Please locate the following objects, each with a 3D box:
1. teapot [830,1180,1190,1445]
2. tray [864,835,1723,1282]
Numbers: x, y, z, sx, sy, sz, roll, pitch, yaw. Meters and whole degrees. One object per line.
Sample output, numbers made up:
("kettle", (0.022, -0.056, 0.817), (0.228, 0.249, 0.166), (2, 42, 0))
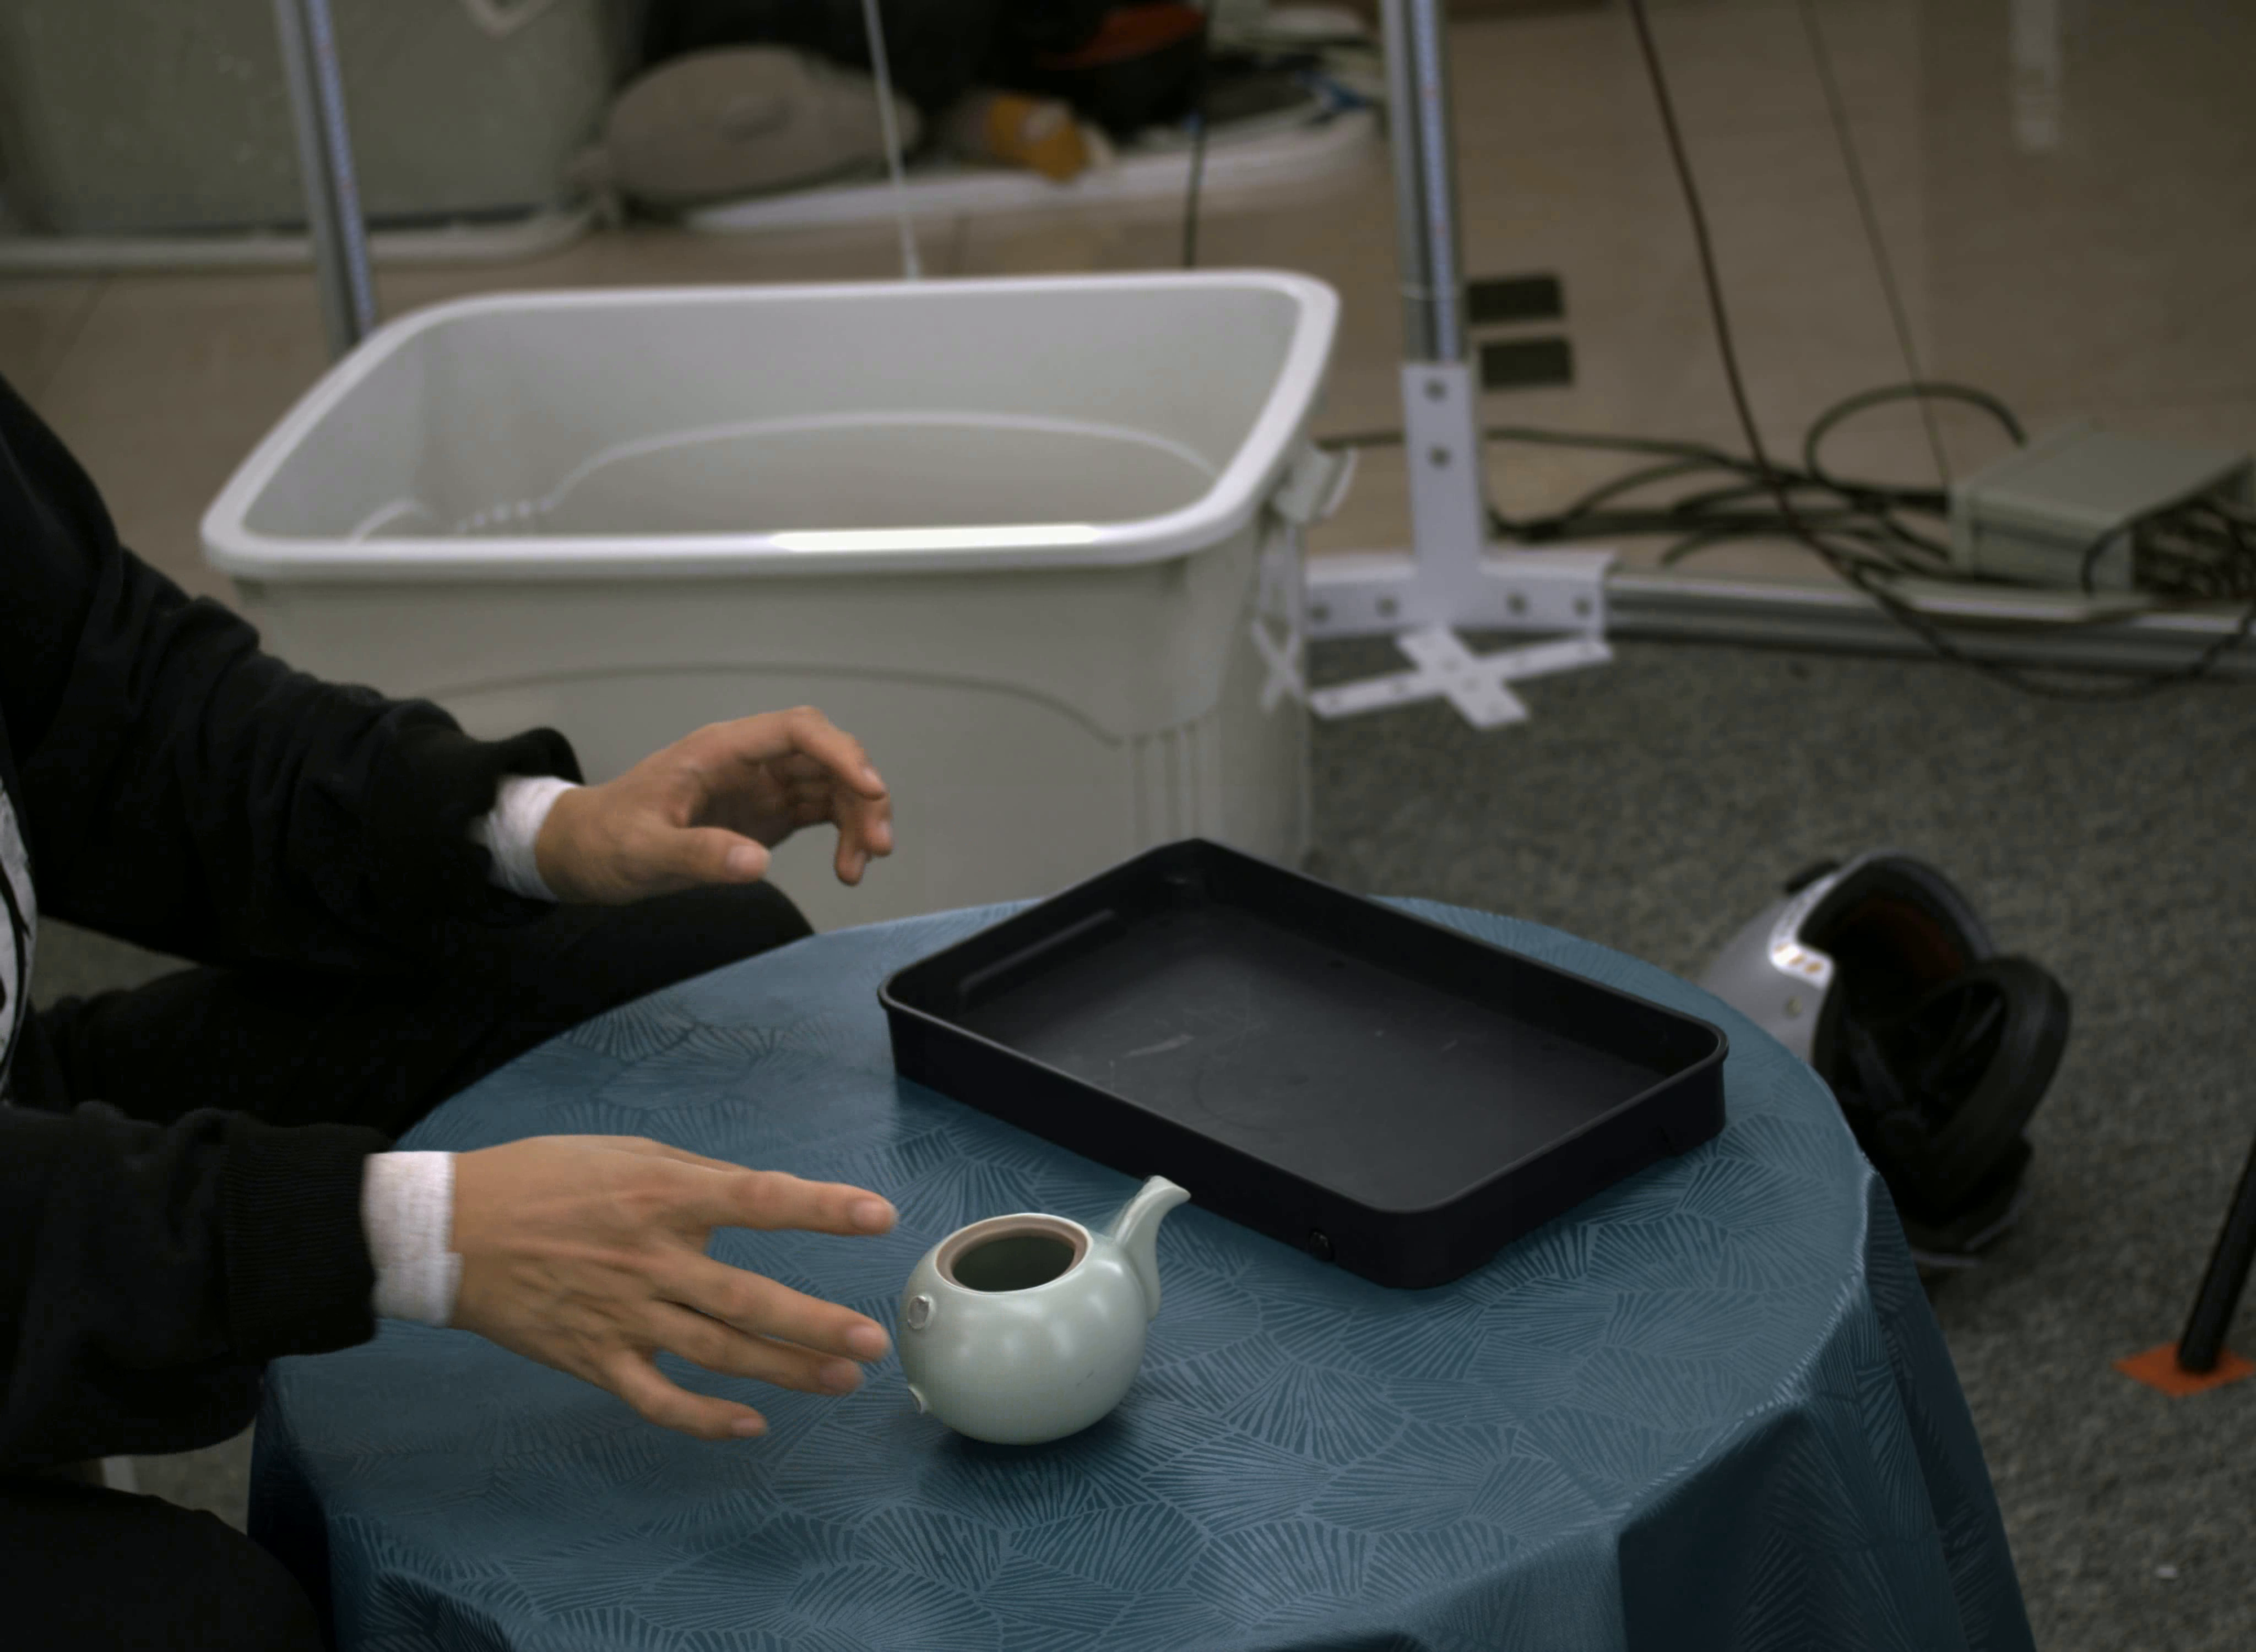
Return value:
("teapot", (-0.038, 0.176, 1.993), (0.143, 0.076, 0.087), (-16, 27, -24))
("tray", (0.062, 0.086, 2.206), (0.183, 0.037, 0.315), (-27, 32, -37))
